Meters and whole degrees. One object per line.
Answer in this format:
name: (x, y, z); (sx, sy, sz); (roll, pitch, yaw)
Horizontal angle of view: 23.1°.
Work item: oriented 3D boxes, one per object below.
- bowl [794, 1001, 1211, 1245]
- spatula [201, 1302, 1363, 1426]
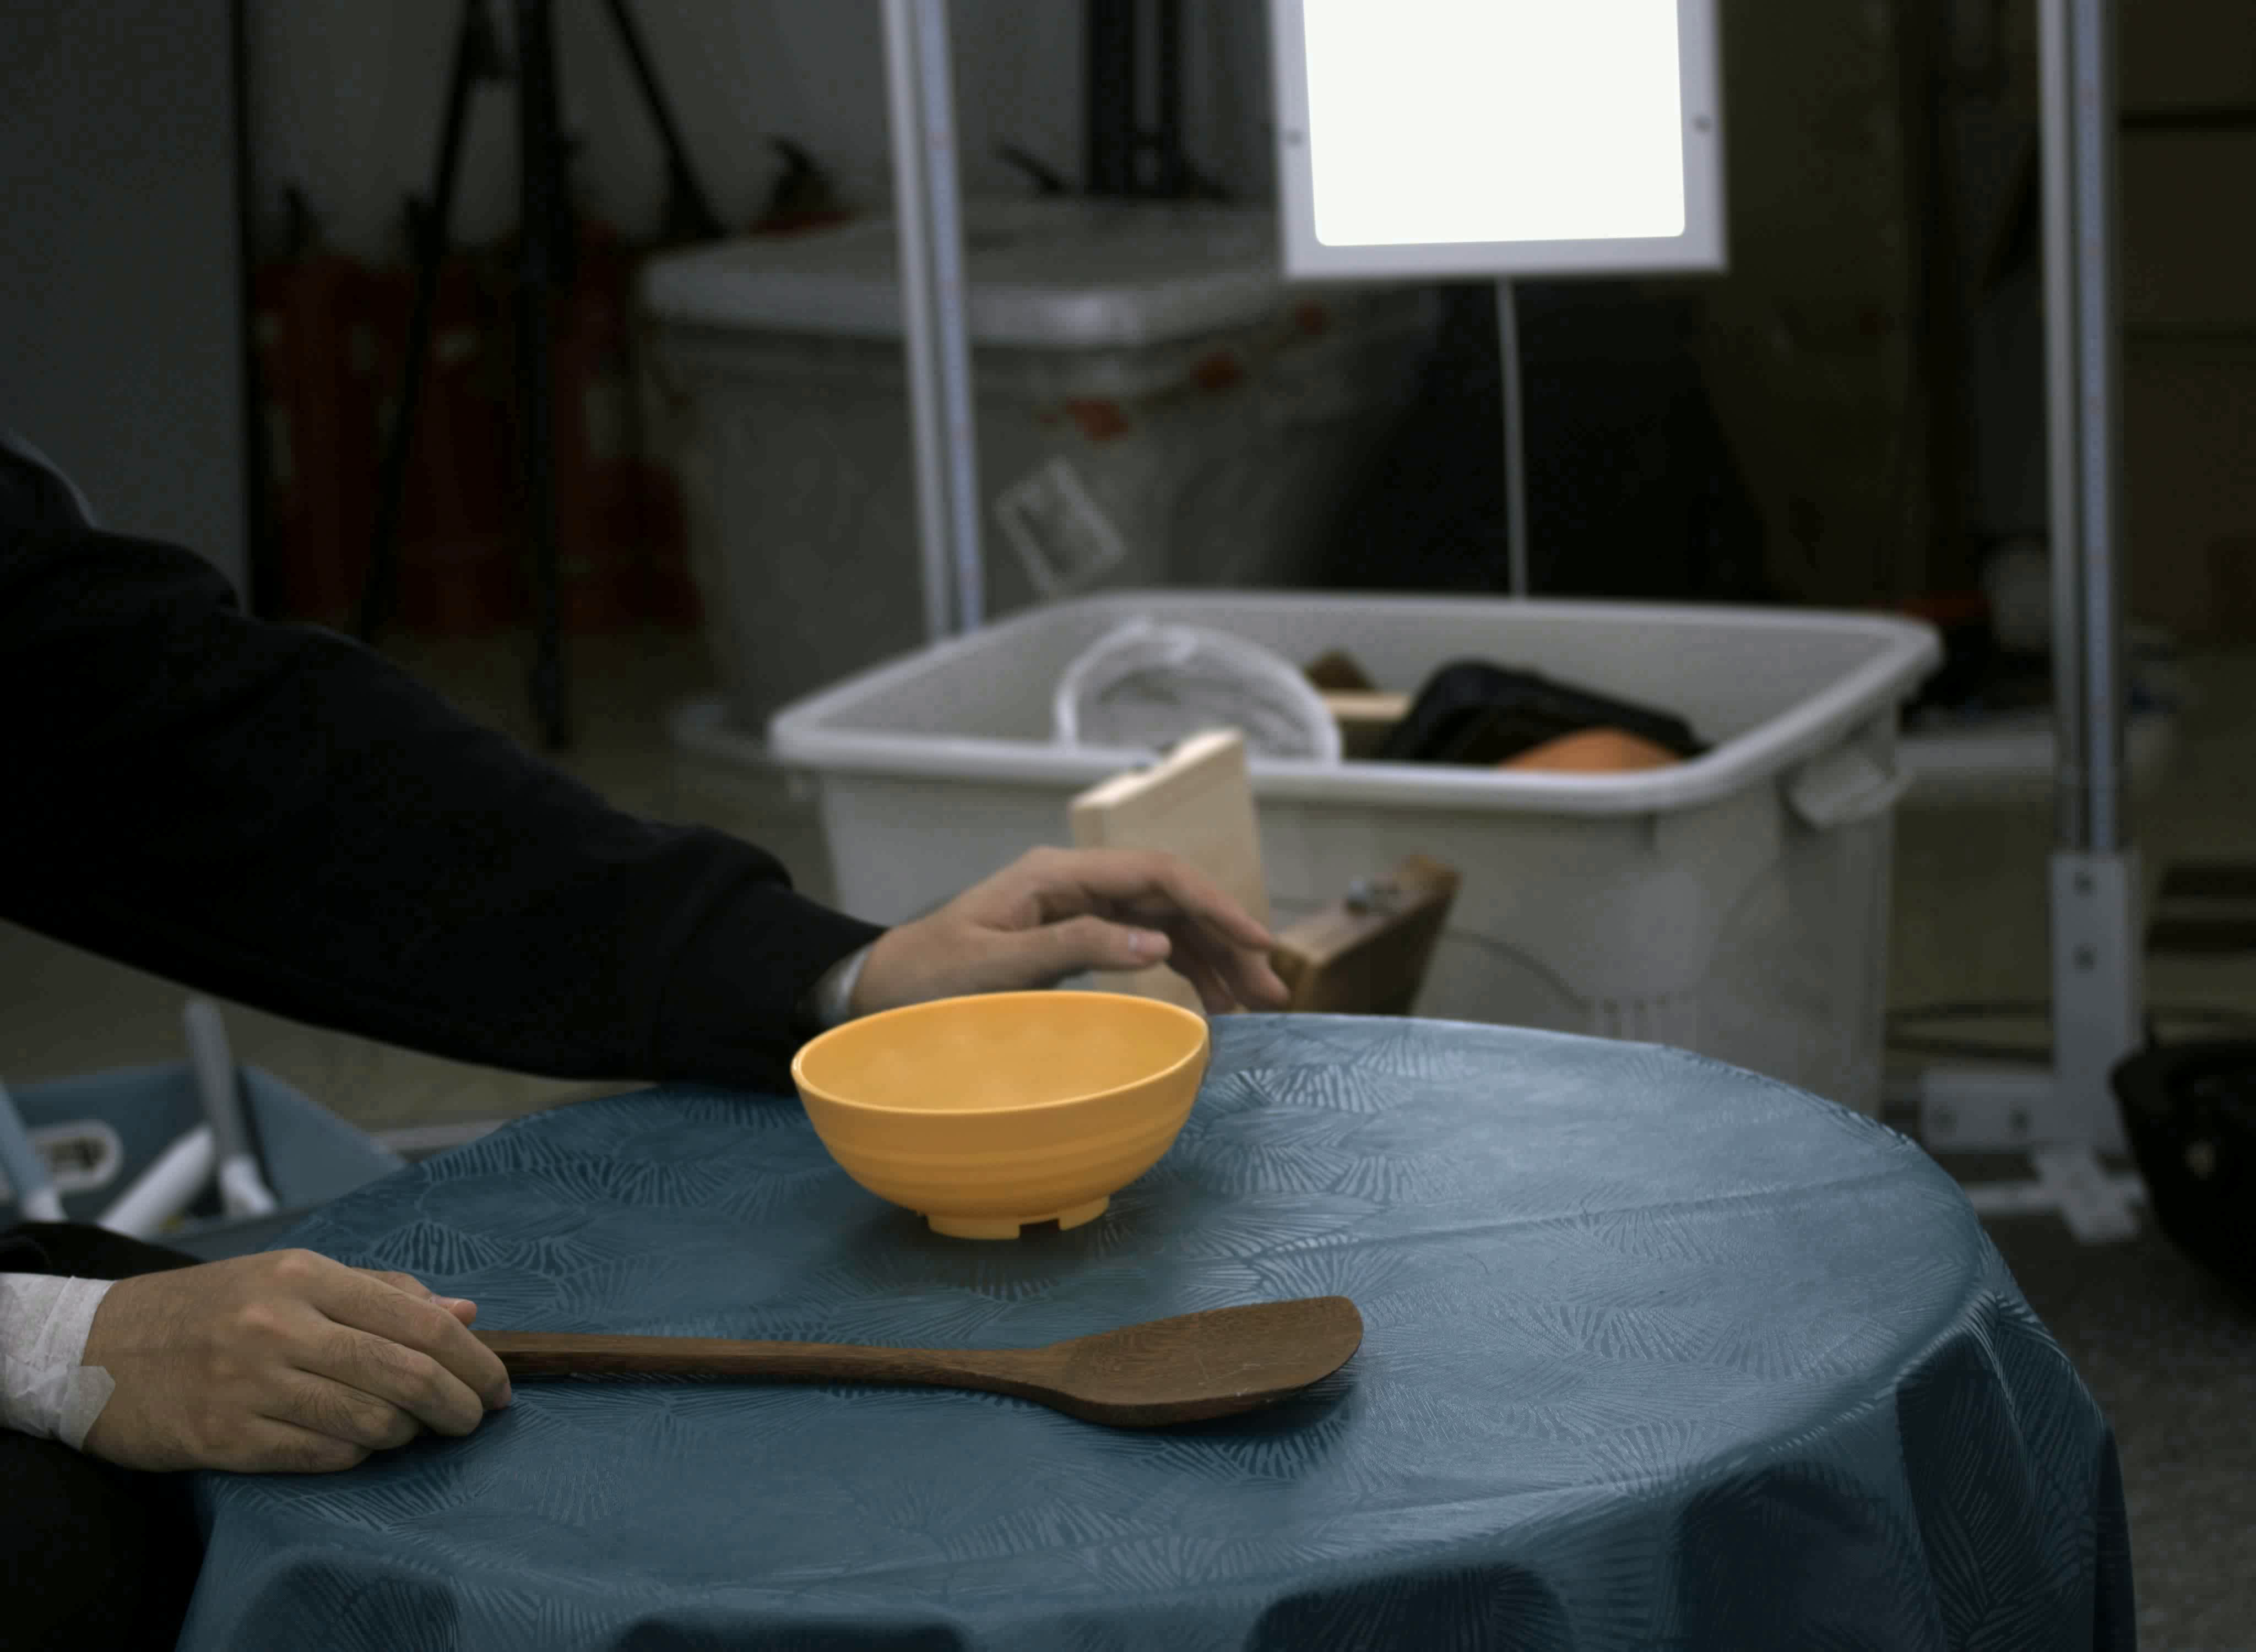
bowl: (-0.040, 0.105, 1.883); (0.145, 0.060, 0.145); (-6, 12, 0)
spatula: (-0.115, 0.168, 1.741); (0.390, 0.016, 0.094); (-1, 14, 17)
